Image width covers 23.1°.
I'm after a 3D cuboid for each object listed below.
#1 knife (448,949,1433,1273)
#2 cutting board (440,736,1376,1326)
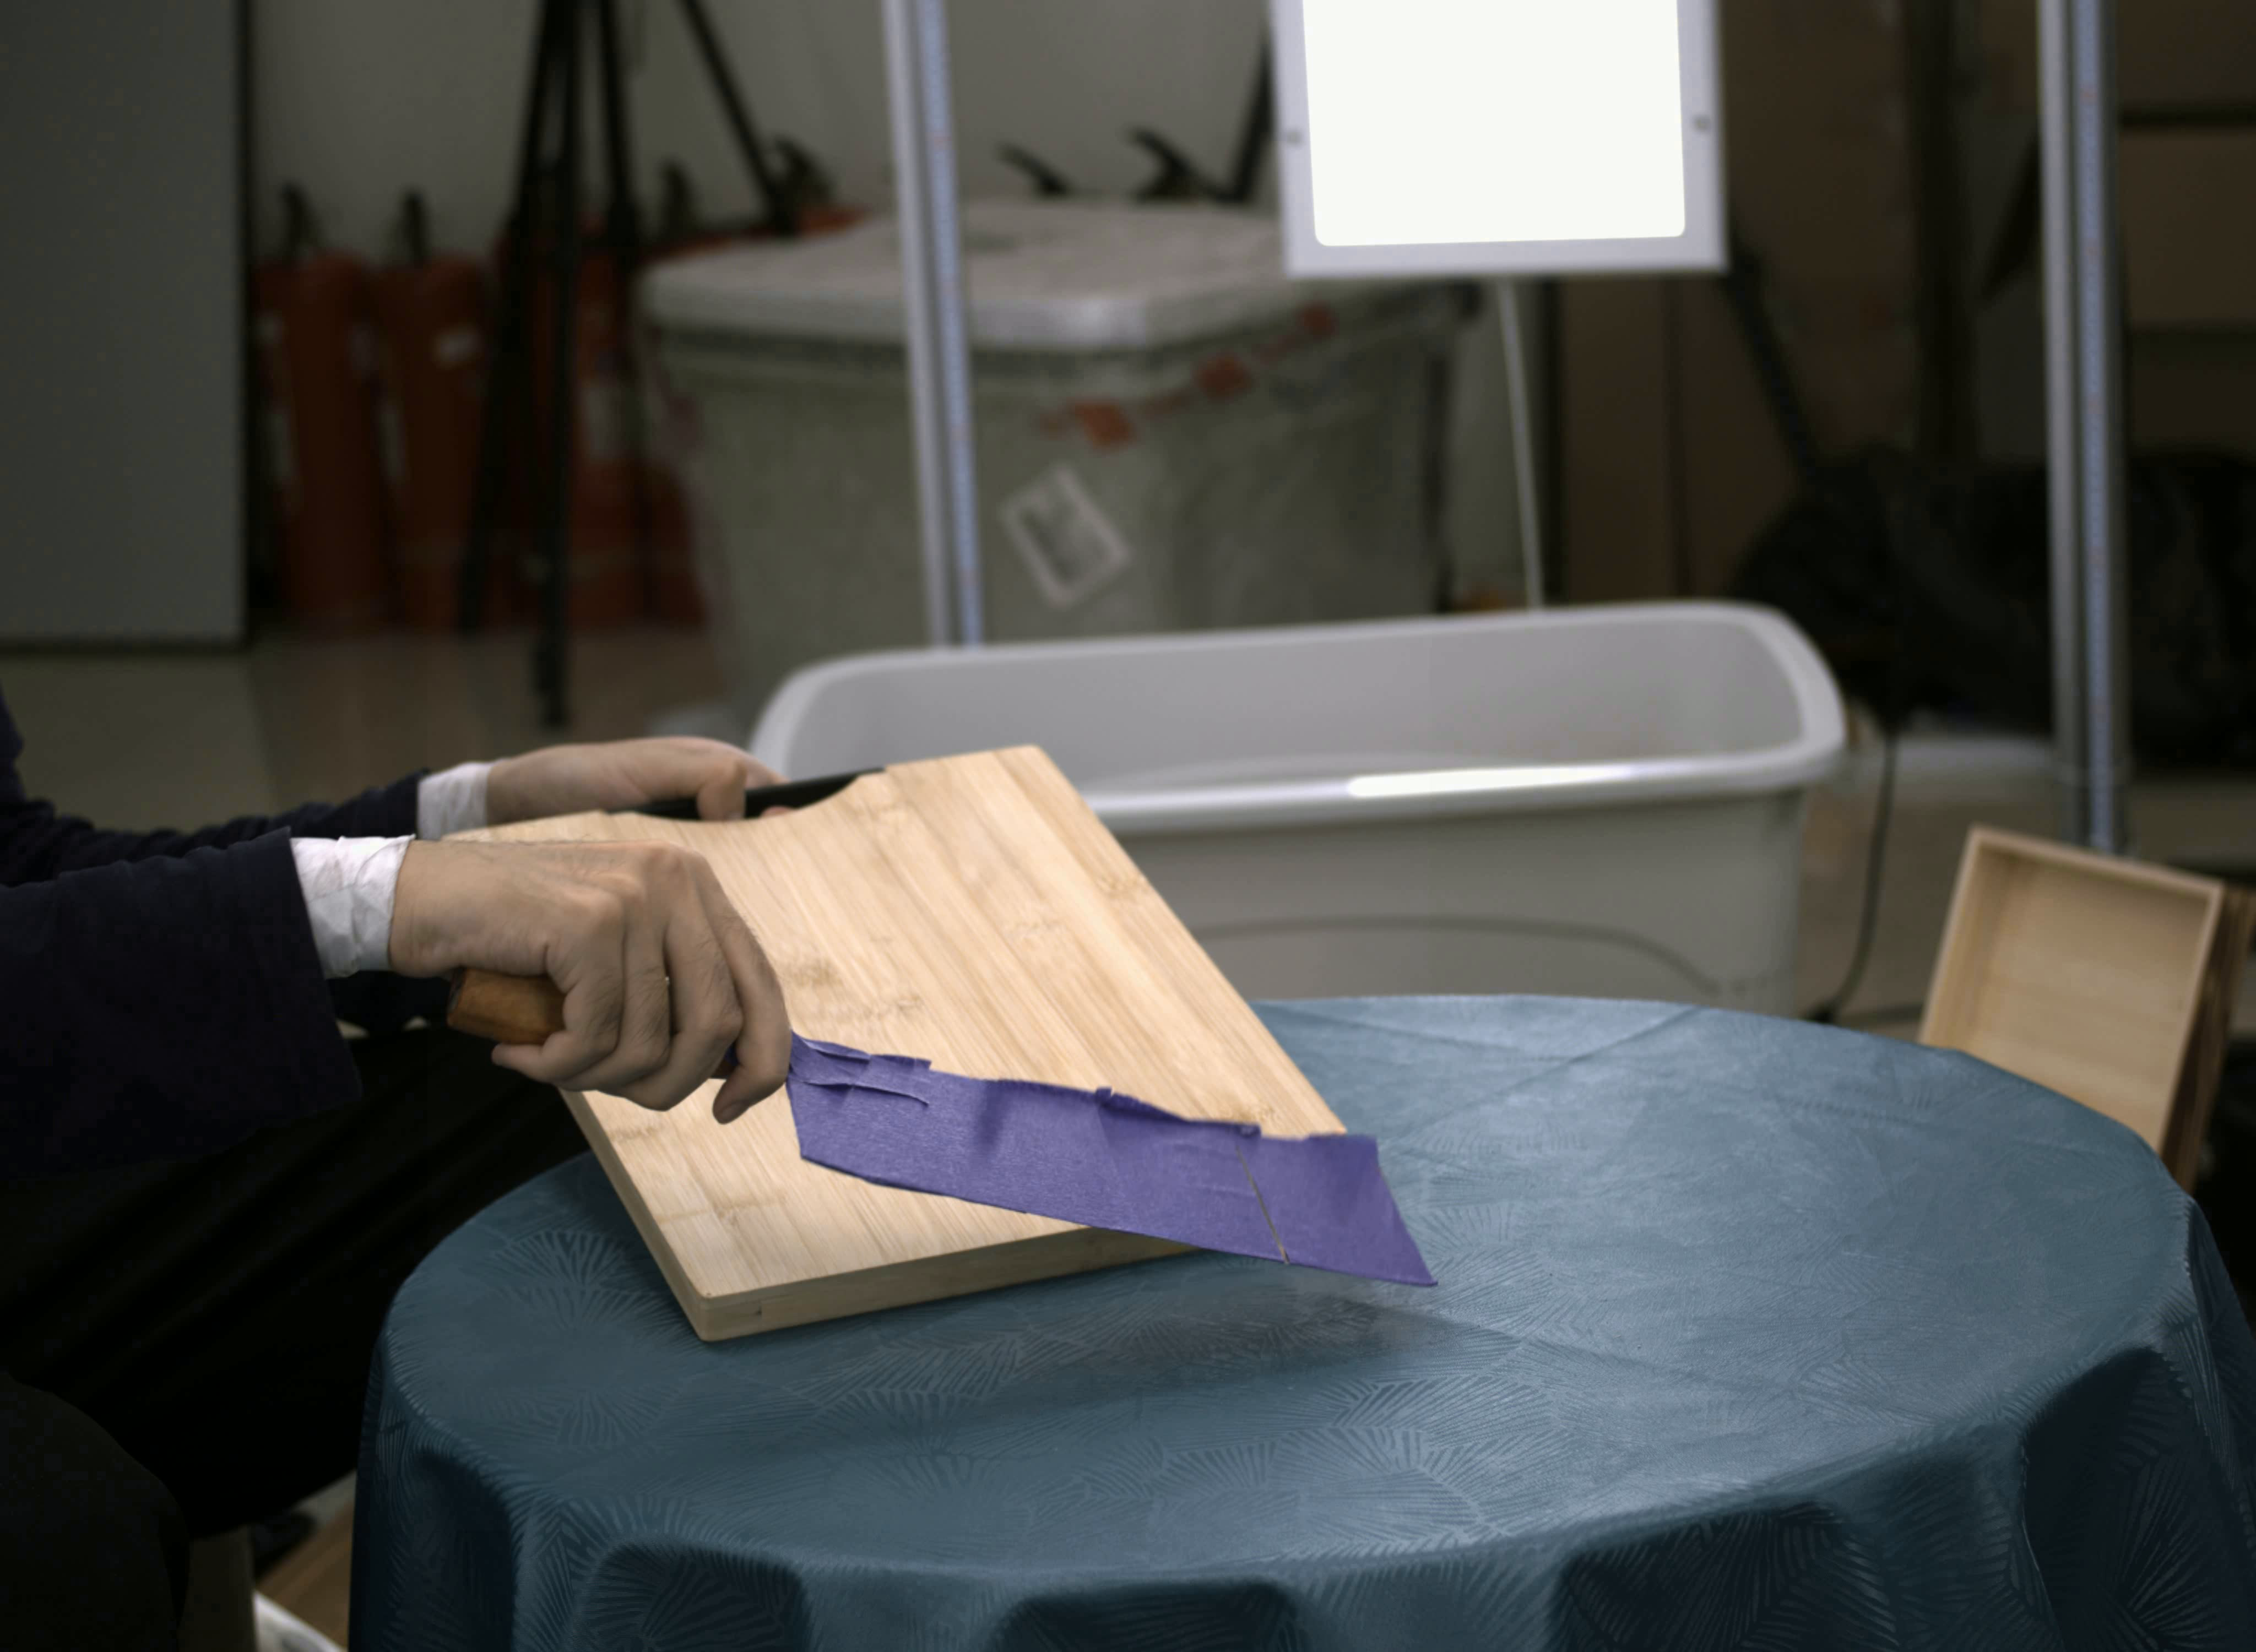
[{"bbox_3d":[-0.055,0.091,1.727,0.311,0.032,0.104,10,19,-12],"label":"knife"},{"bbox_3d":[-0.087,0.066,1.962,0.246,0.024,0.352,-10,29,-18],"label":"cutting board"}]
